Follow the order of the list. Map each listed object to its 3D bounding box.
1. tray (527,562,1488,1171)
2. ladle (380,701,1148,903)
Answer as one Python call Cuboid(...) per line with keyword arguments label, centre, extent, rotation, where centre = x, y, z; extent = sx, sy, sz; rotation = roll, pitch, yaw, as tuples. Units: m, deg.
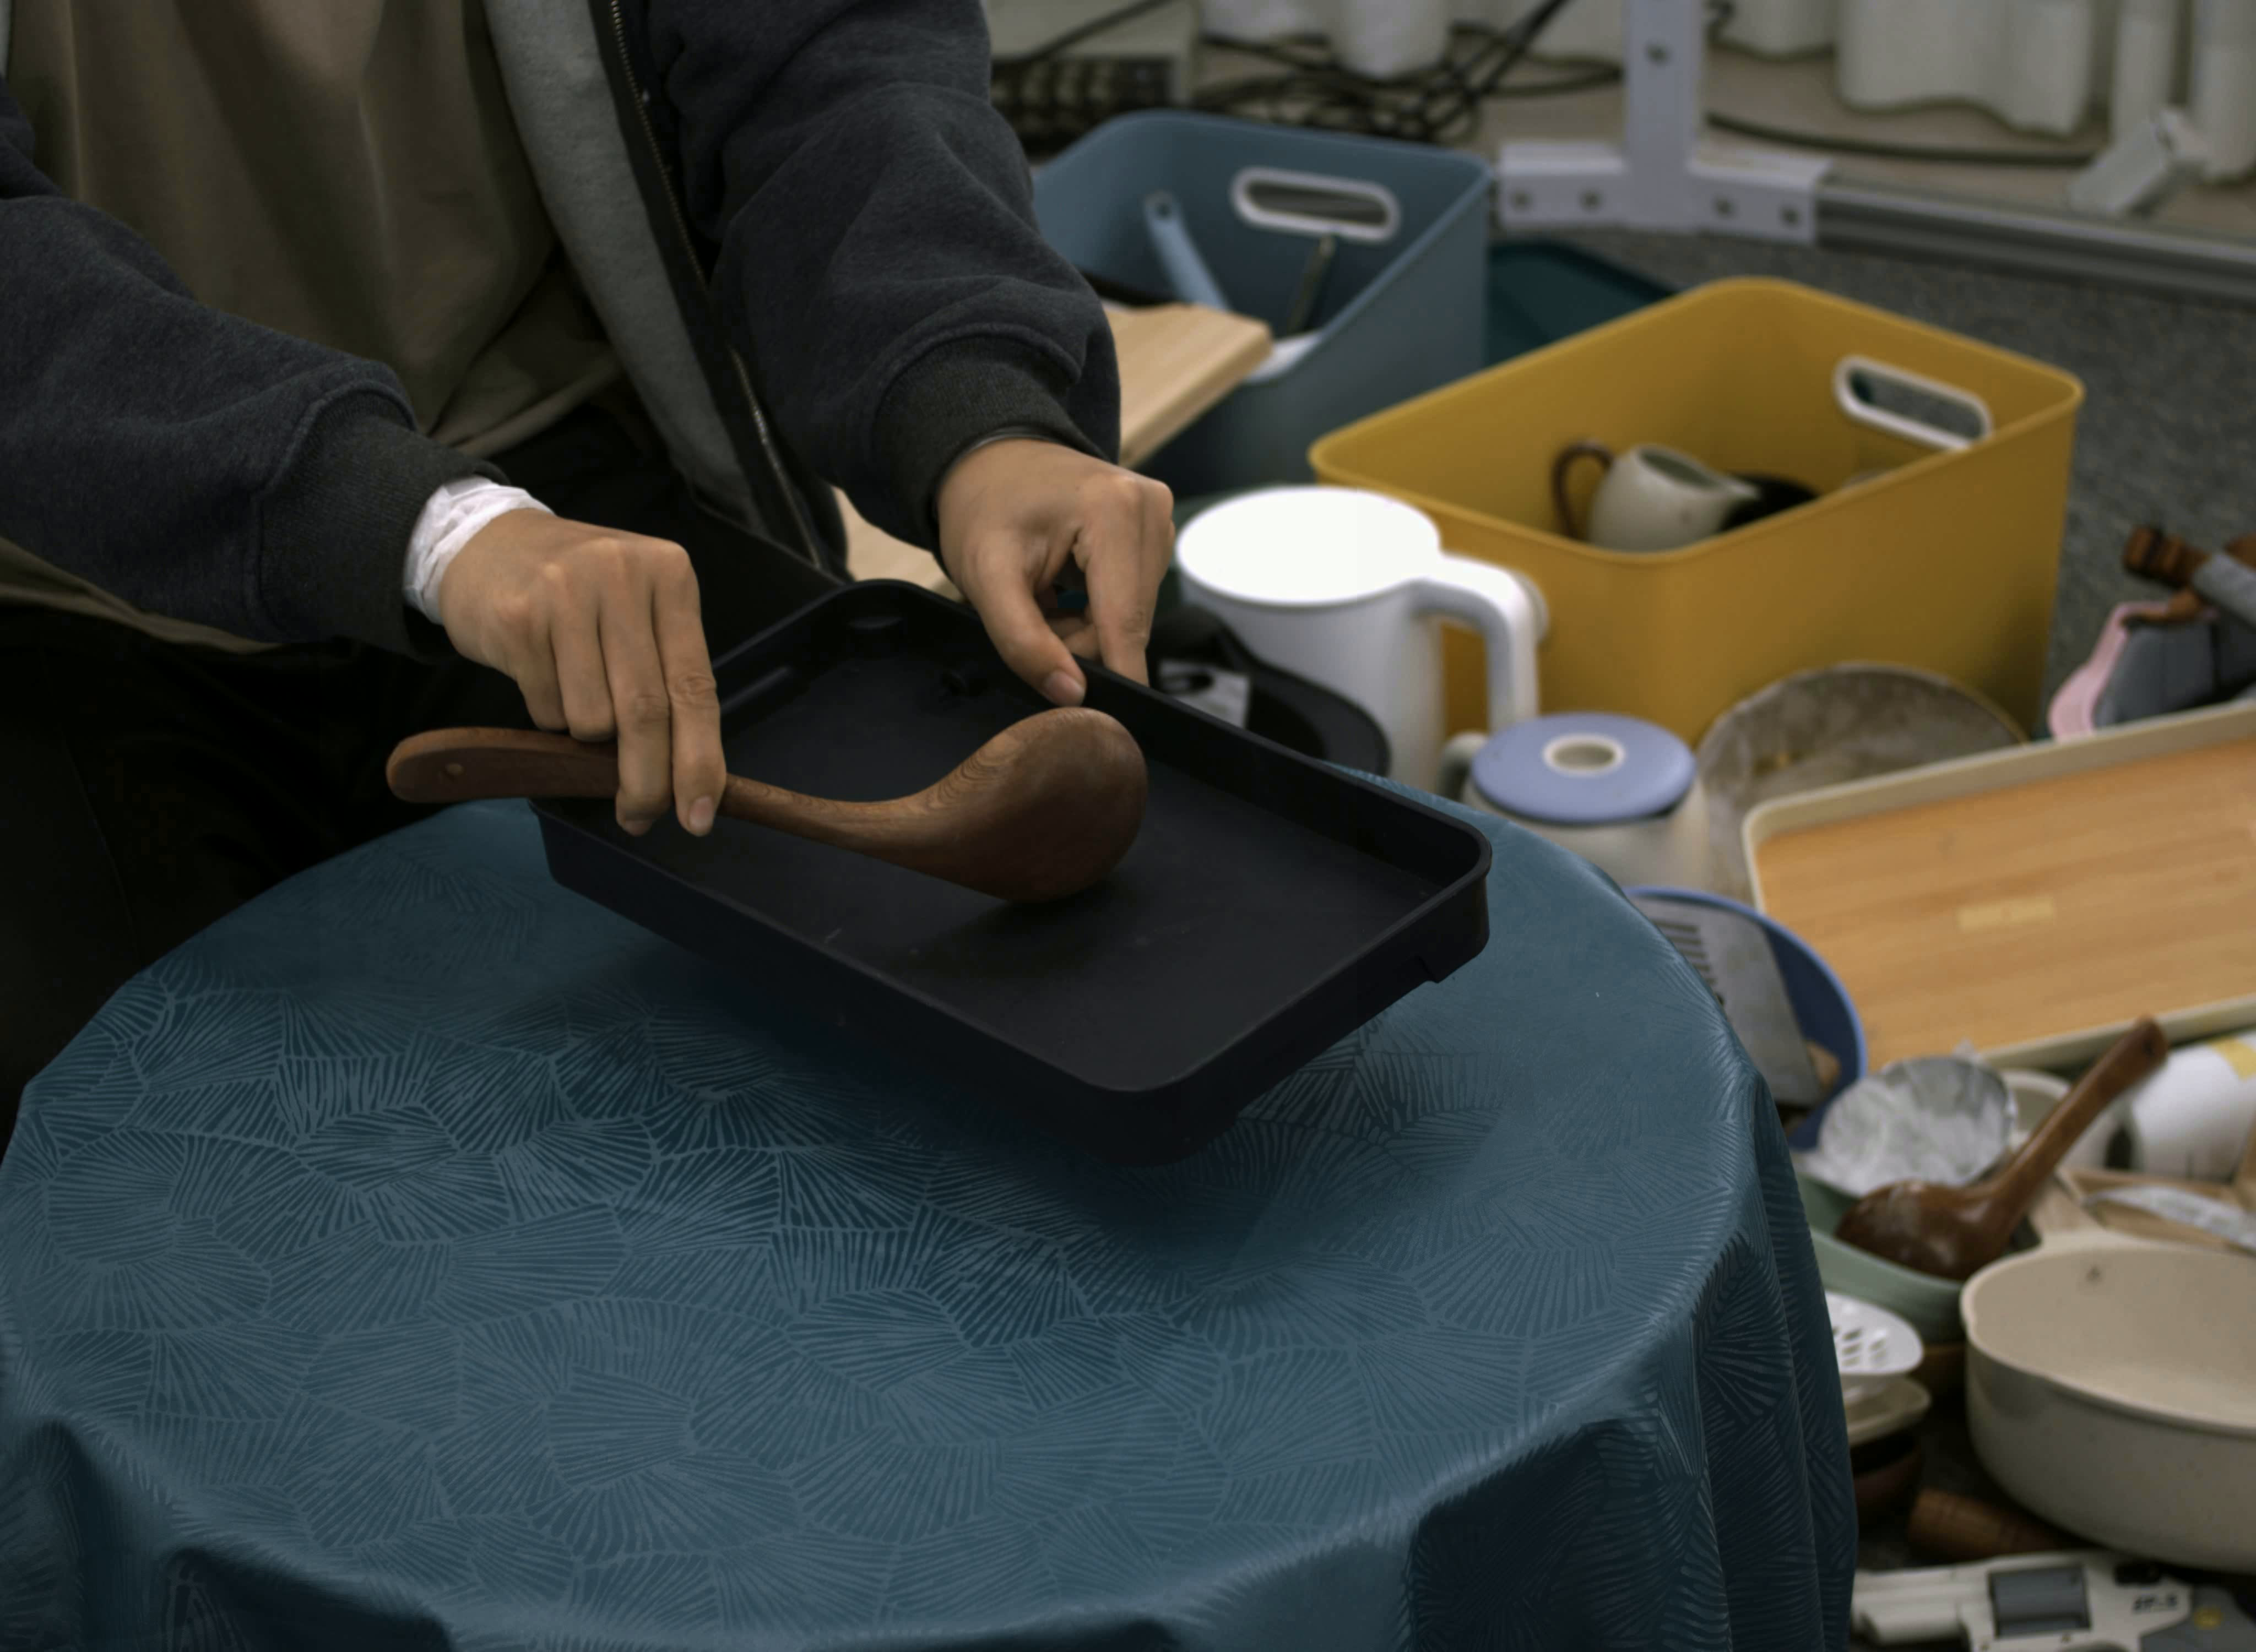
Cuboid(label="tray", centre=(-0.045, 0.008, 1.927), extent=(0.318, 0.036, 0.187), rotation=(25, 45, 38))
Cuboid(label="ladle", centre=(-0.123, -0.018, 1.918), extent=(0.259, 0.075, 0.066), rotation=(7, 36, 8))
